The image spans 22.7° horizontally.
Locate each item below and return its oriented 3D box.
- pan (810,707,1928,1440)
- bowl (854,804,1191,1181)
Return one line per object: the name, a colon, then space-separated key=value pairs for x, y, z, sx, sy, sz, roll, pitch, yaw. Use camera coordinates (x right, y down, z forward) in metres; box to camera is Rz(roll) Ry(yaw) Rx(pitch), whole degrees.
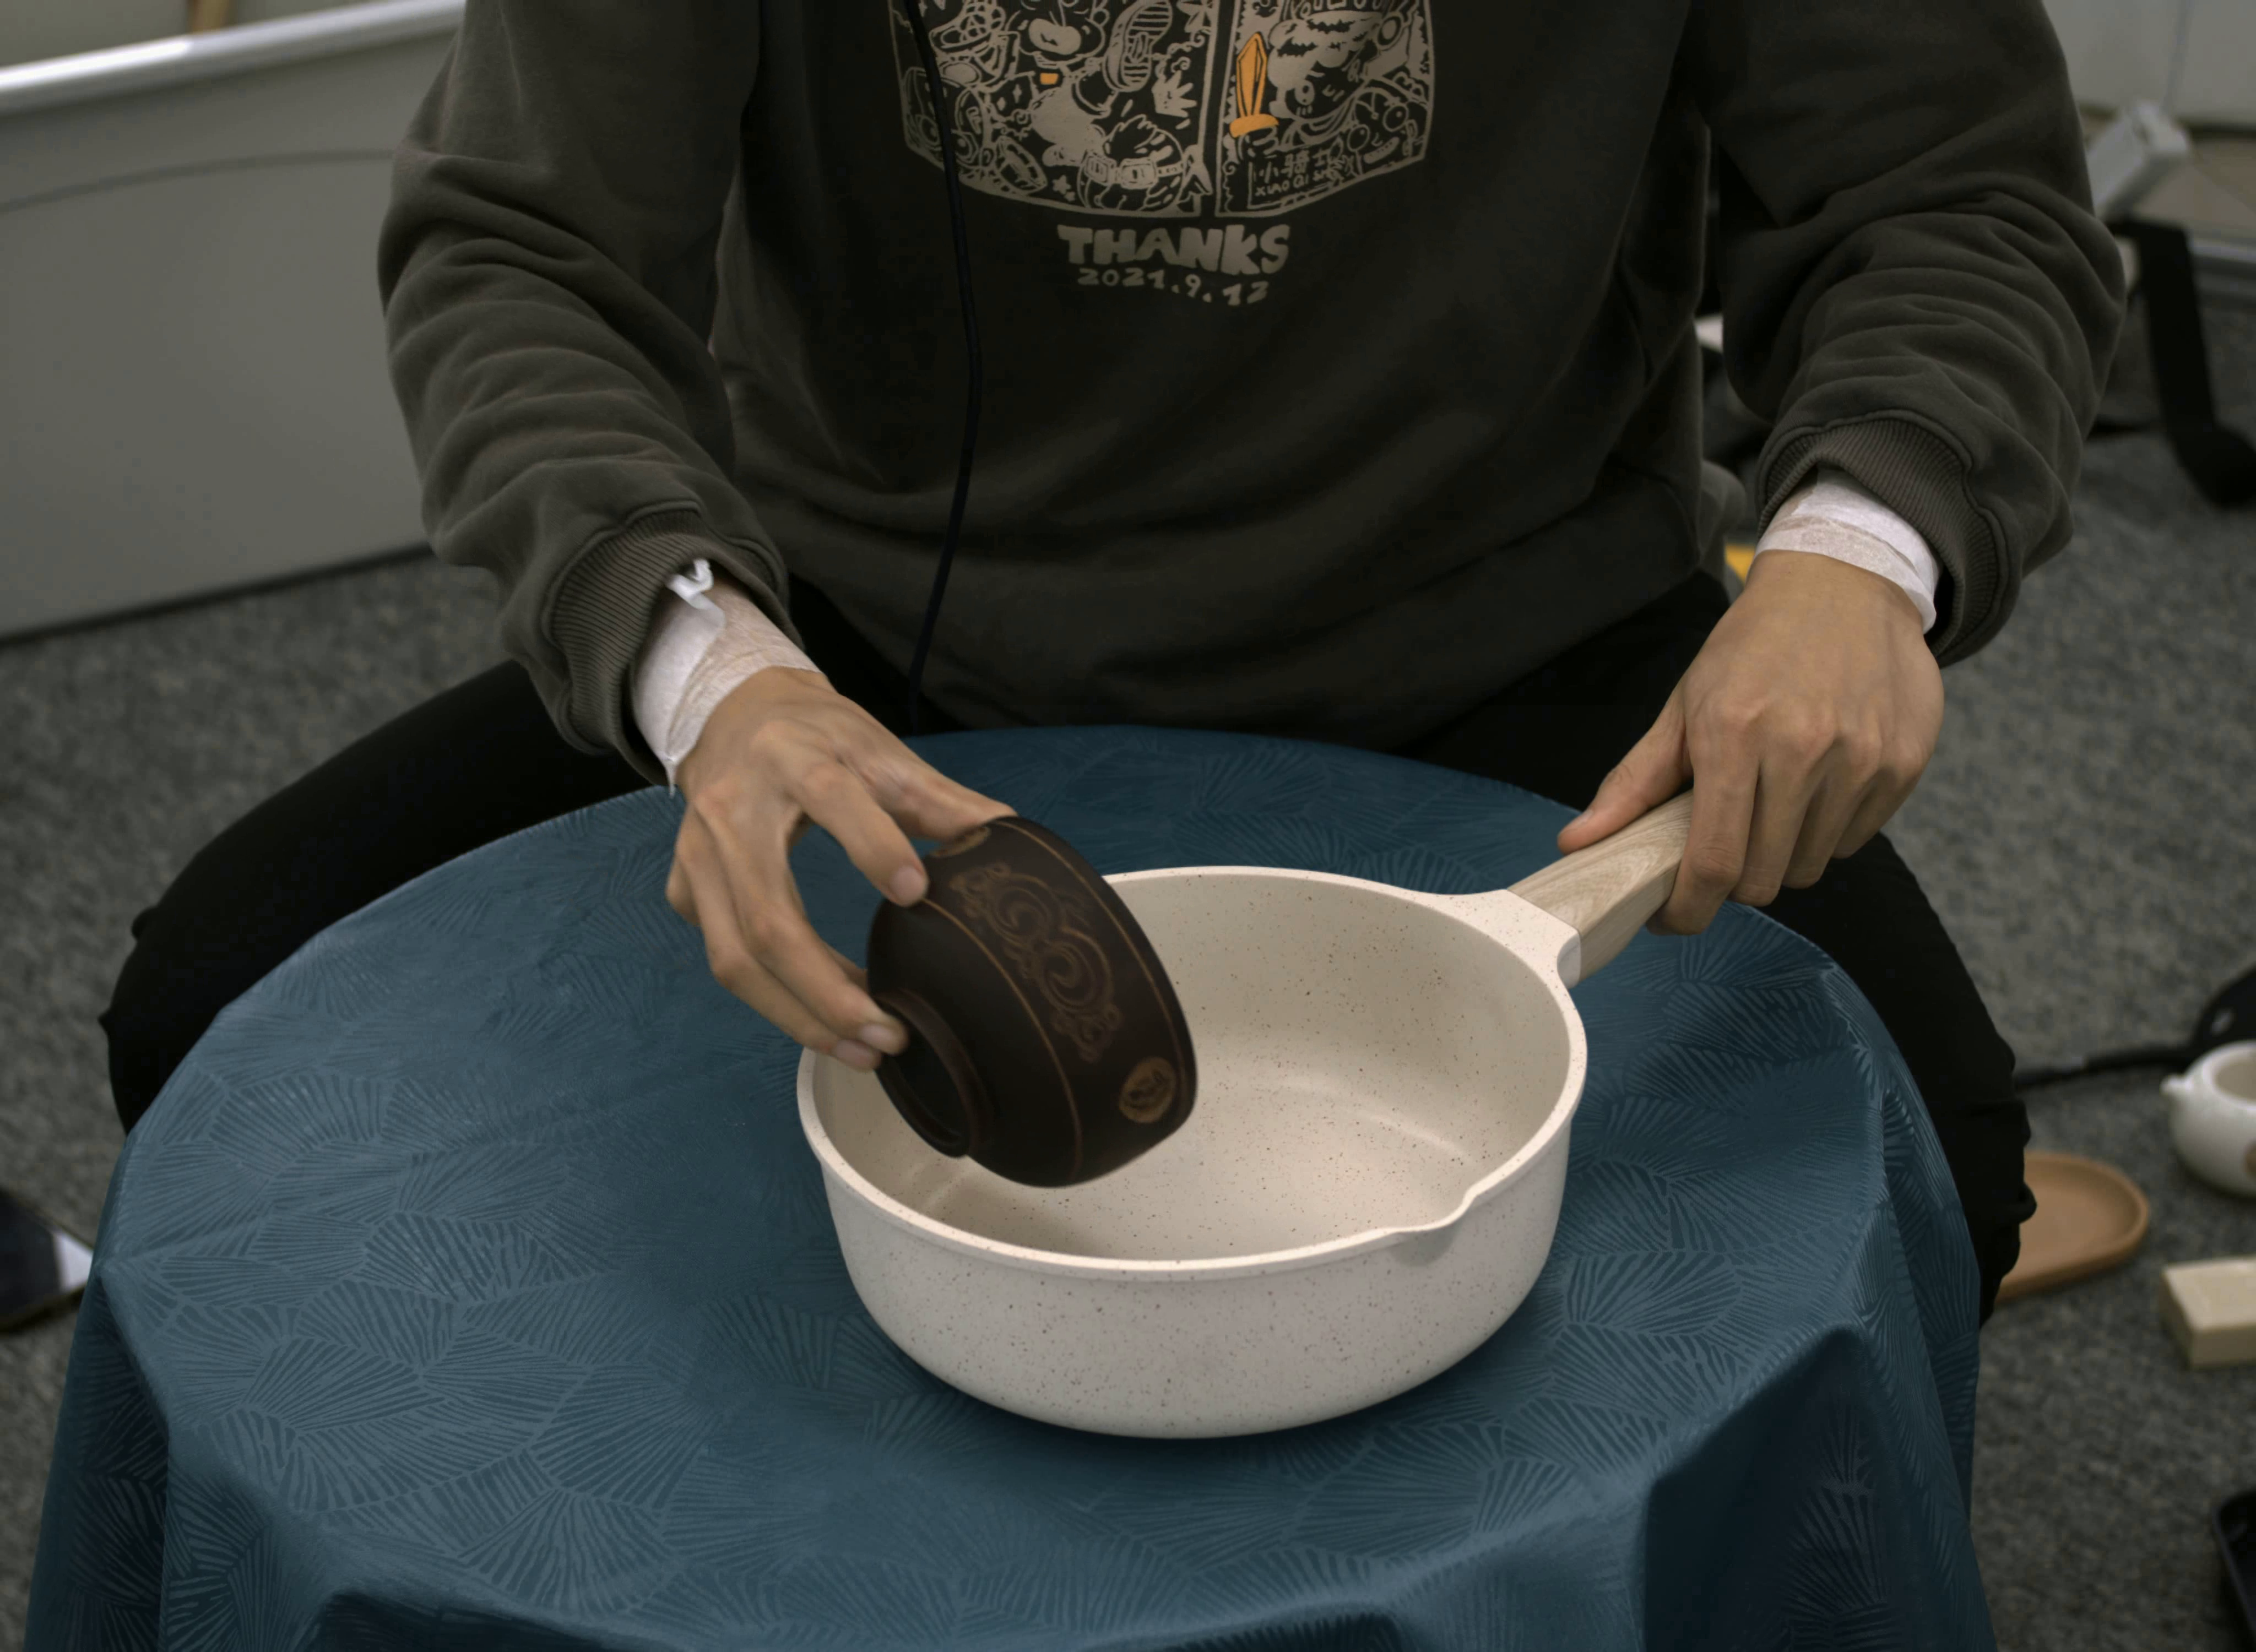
pan: x=0.100 y=0.074 z=1.837 sx=0.439 sy=0.101 sz=0.263 roll=-21 pitch=31 yaw=-31
bowl: x=-0.042 y=0.060 z=1.755 sx=0.070 sy=0.116 sz=0.118 roll=-32 pitch=38 yaw=-25
